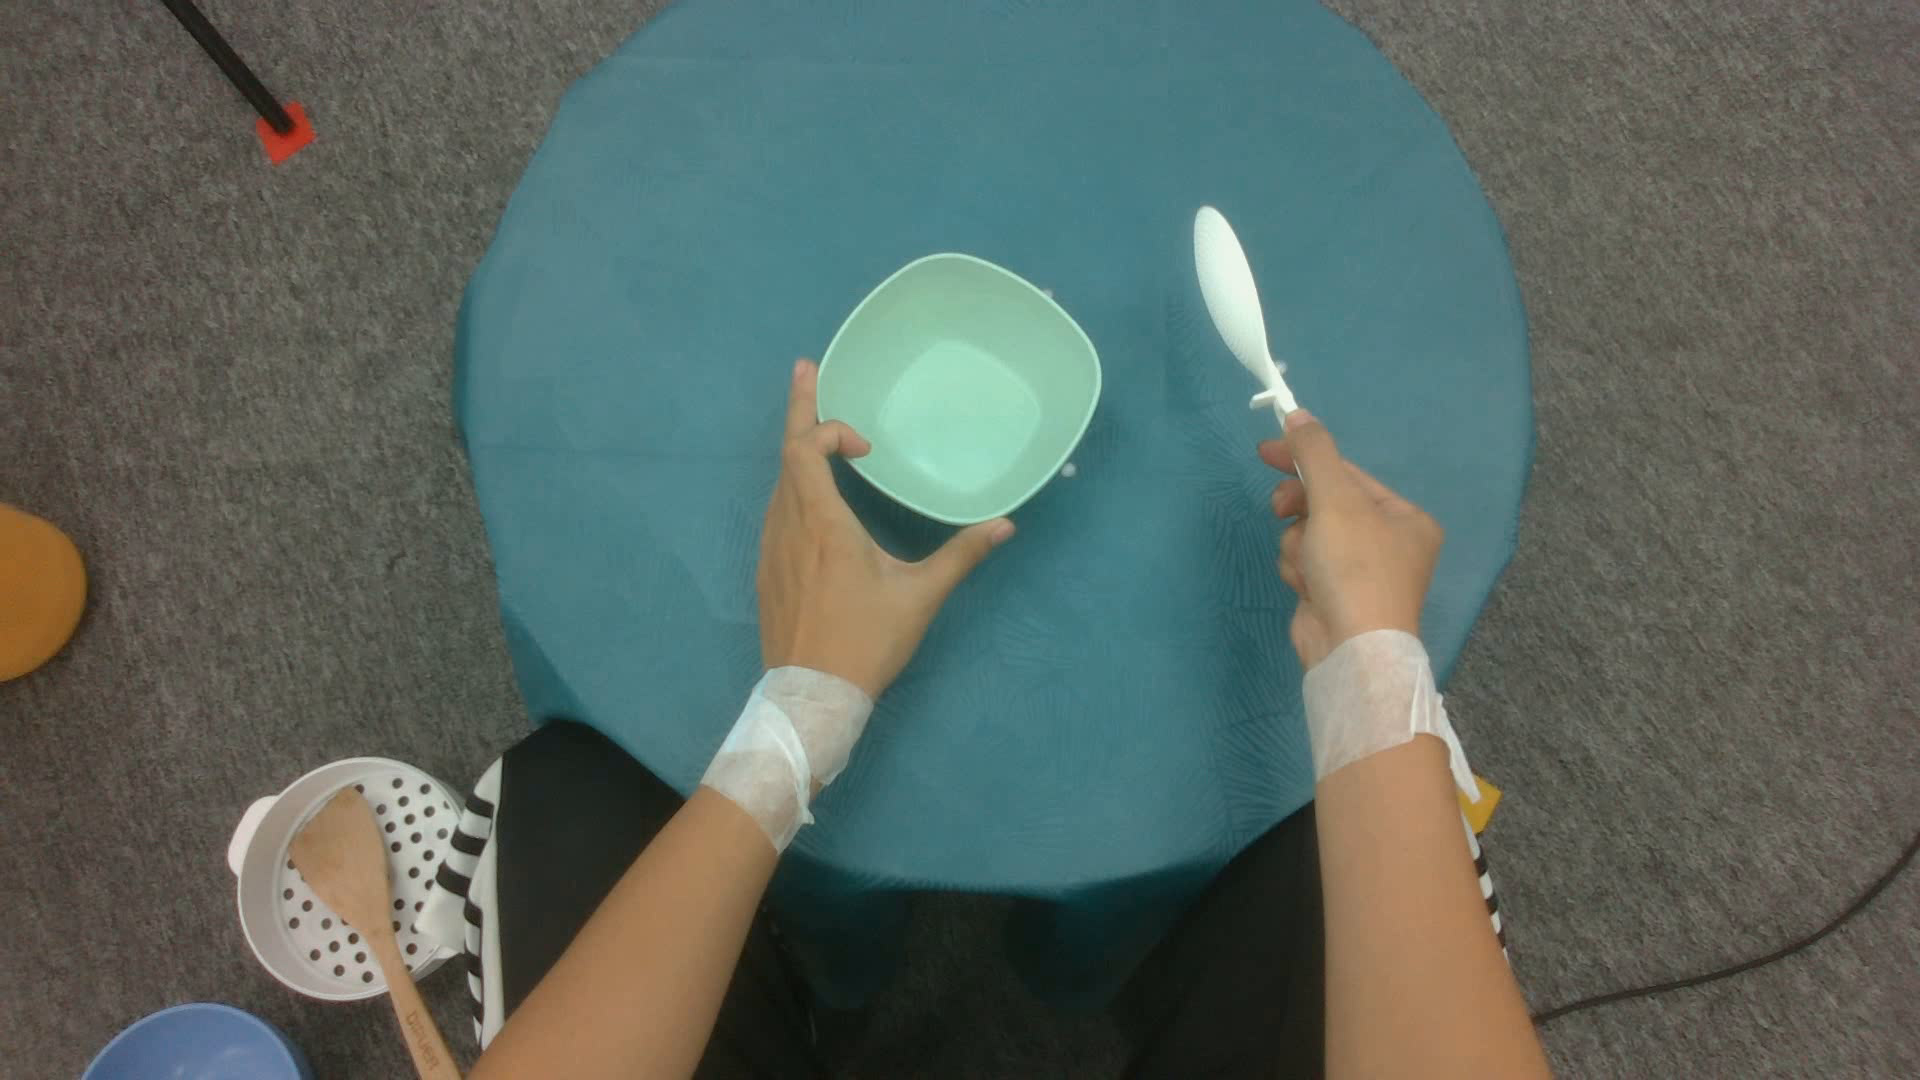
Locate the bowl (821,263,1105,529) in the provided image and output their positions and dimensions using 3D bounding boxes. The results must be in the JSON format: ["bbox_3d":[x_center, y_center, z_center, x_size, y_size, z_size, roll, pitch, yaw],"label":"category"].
[{"bbox_3d":[0.001,-0.071,0.754,0.151,0.058,0.152,0,73,-1],"label":"bowl"}]

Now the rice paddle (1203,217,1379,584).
[{"bbox_3d":[0.164,-0.077,0.709,0.029,0.068,0.205,-16,72,-4],"label":"rice paddle"}]
